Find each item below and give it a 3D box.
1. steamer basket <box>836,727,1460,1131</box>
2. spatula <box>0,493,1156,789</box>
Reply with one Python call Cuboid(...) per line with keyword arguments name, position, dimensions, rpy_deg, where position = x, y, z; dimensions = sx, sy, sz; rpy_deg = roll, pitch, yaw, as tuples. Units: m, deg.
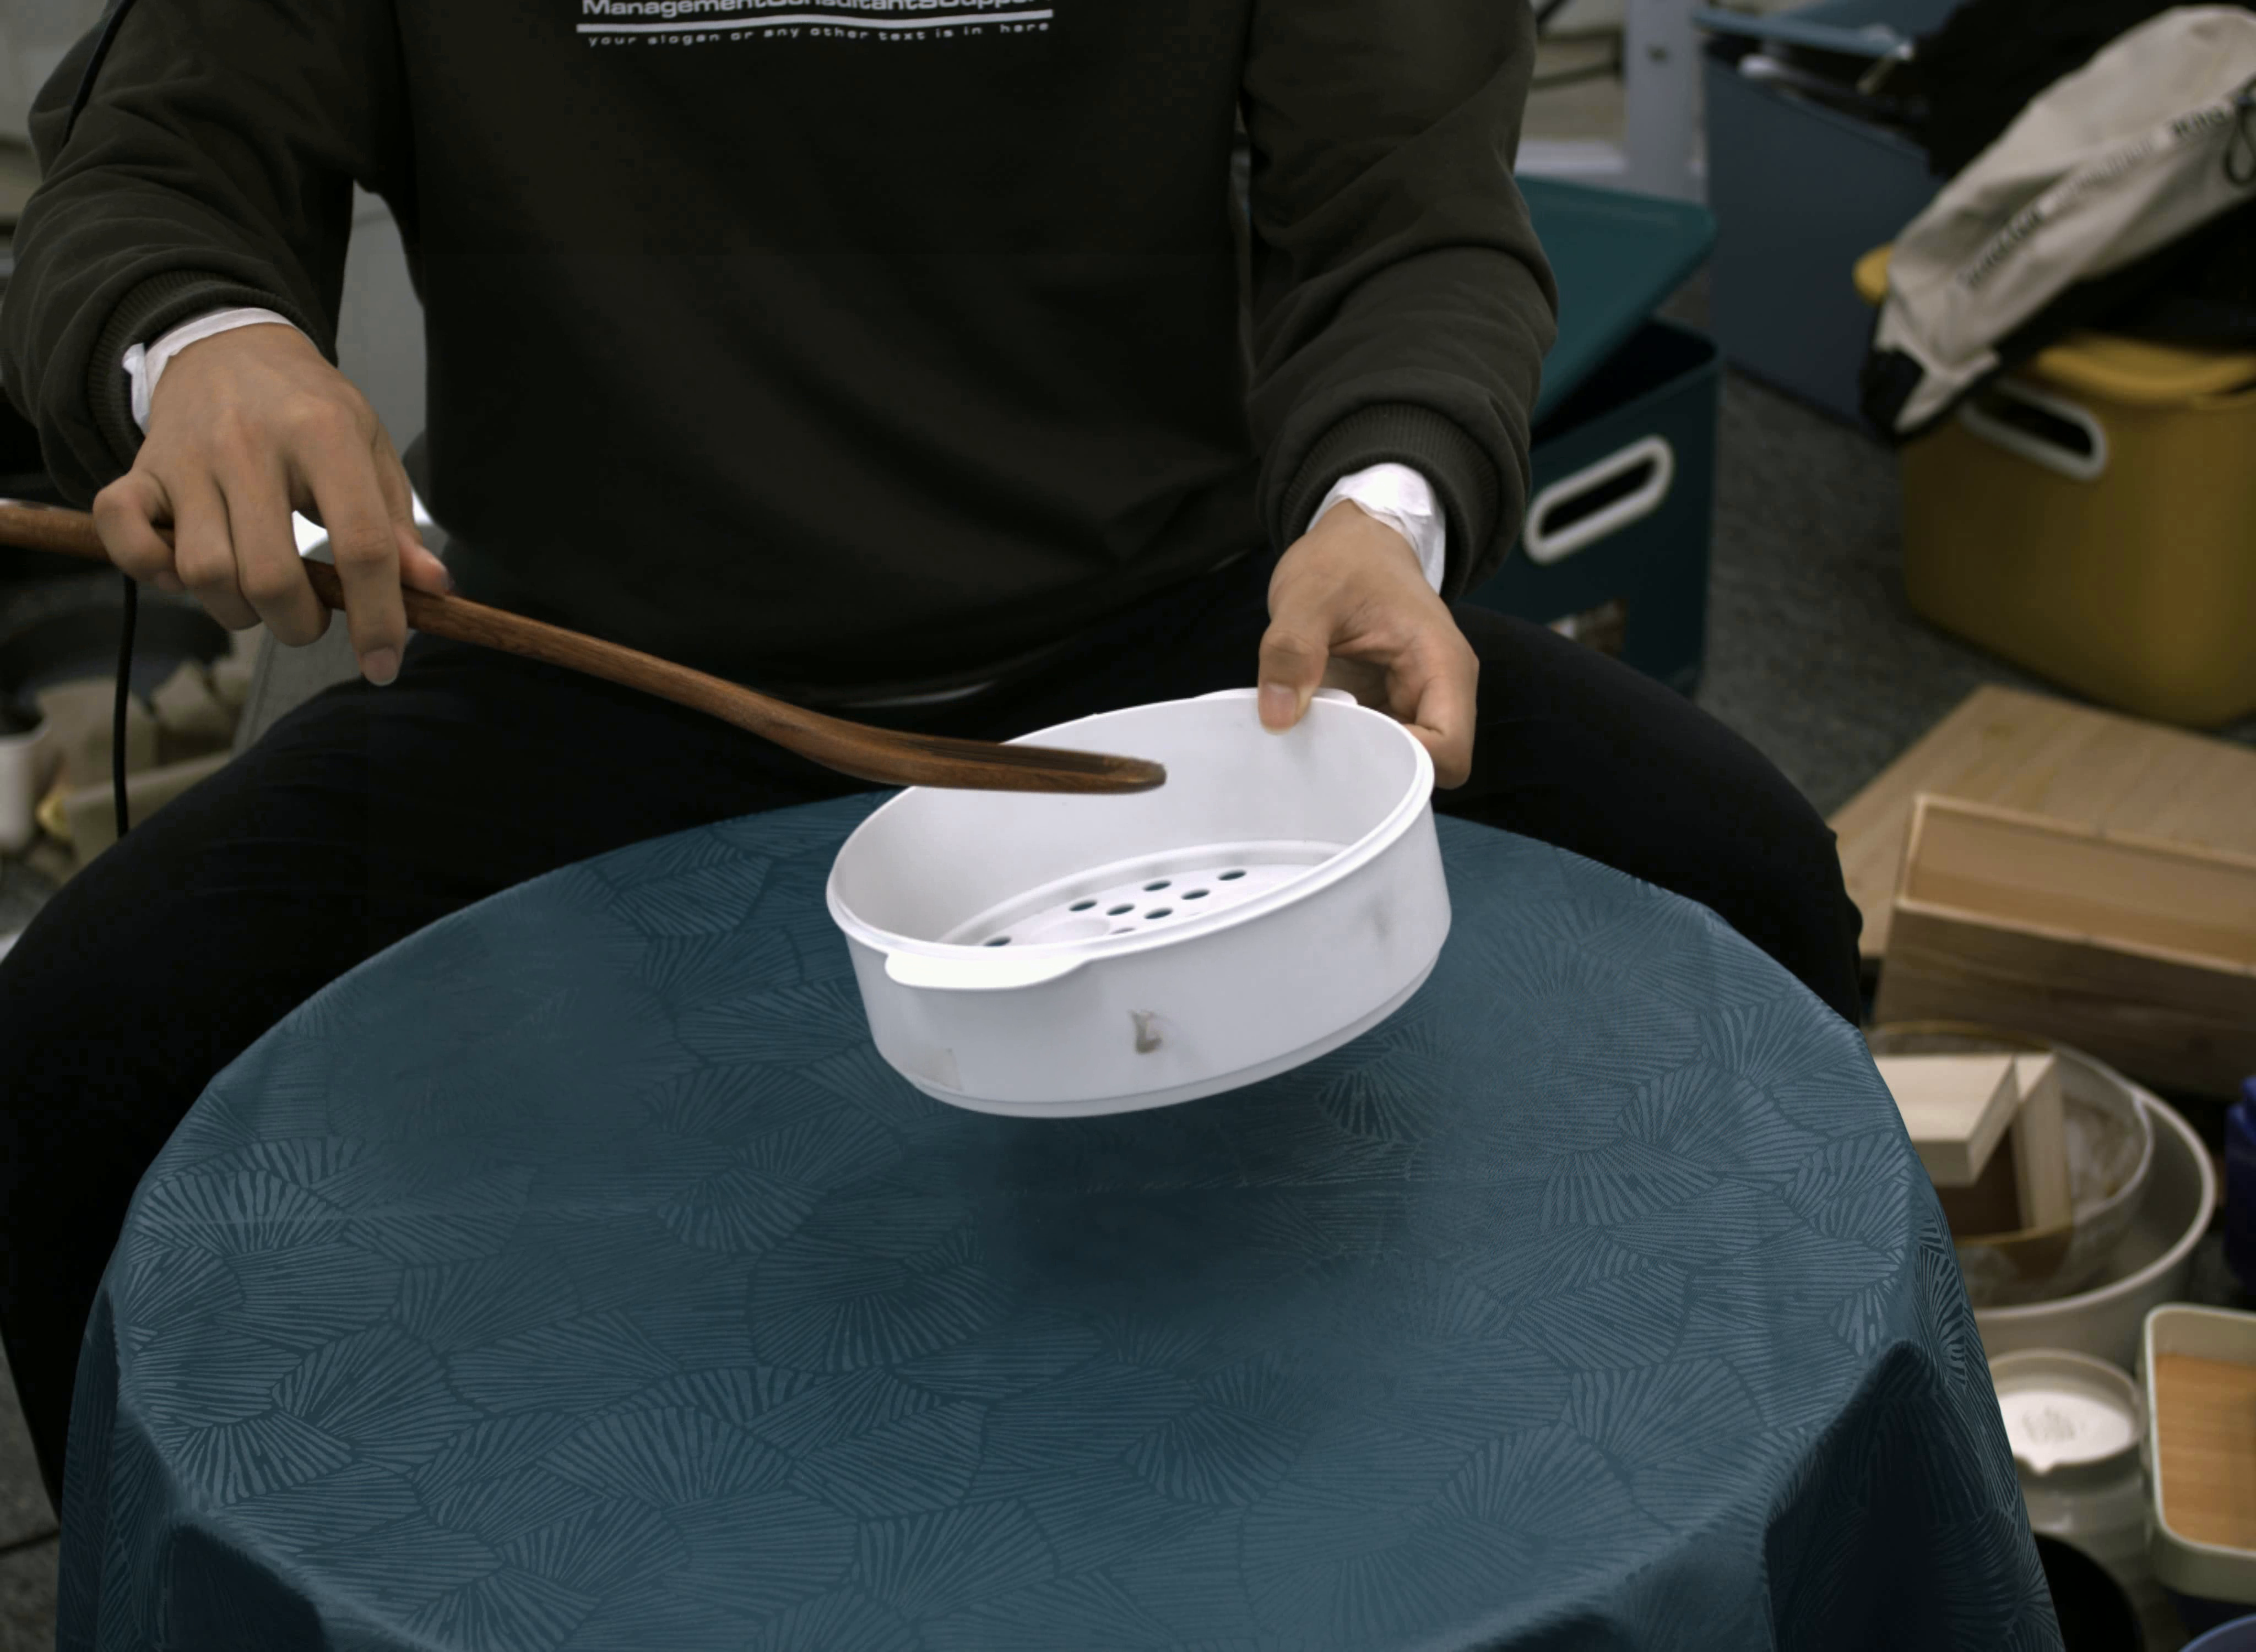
Cuboid(name="steamer basket", position=(0.009, 0.034, 1.820), dimensions=(0.200, 0.069, 0.234), rpy_deg=(2, 22, 30))
Cuboid(name="spatula", position=(-0.179, -0.054, 1.793), dimensions=(0.384, 0.023, 0.086), rpy_deg=(14, 8, -3))
